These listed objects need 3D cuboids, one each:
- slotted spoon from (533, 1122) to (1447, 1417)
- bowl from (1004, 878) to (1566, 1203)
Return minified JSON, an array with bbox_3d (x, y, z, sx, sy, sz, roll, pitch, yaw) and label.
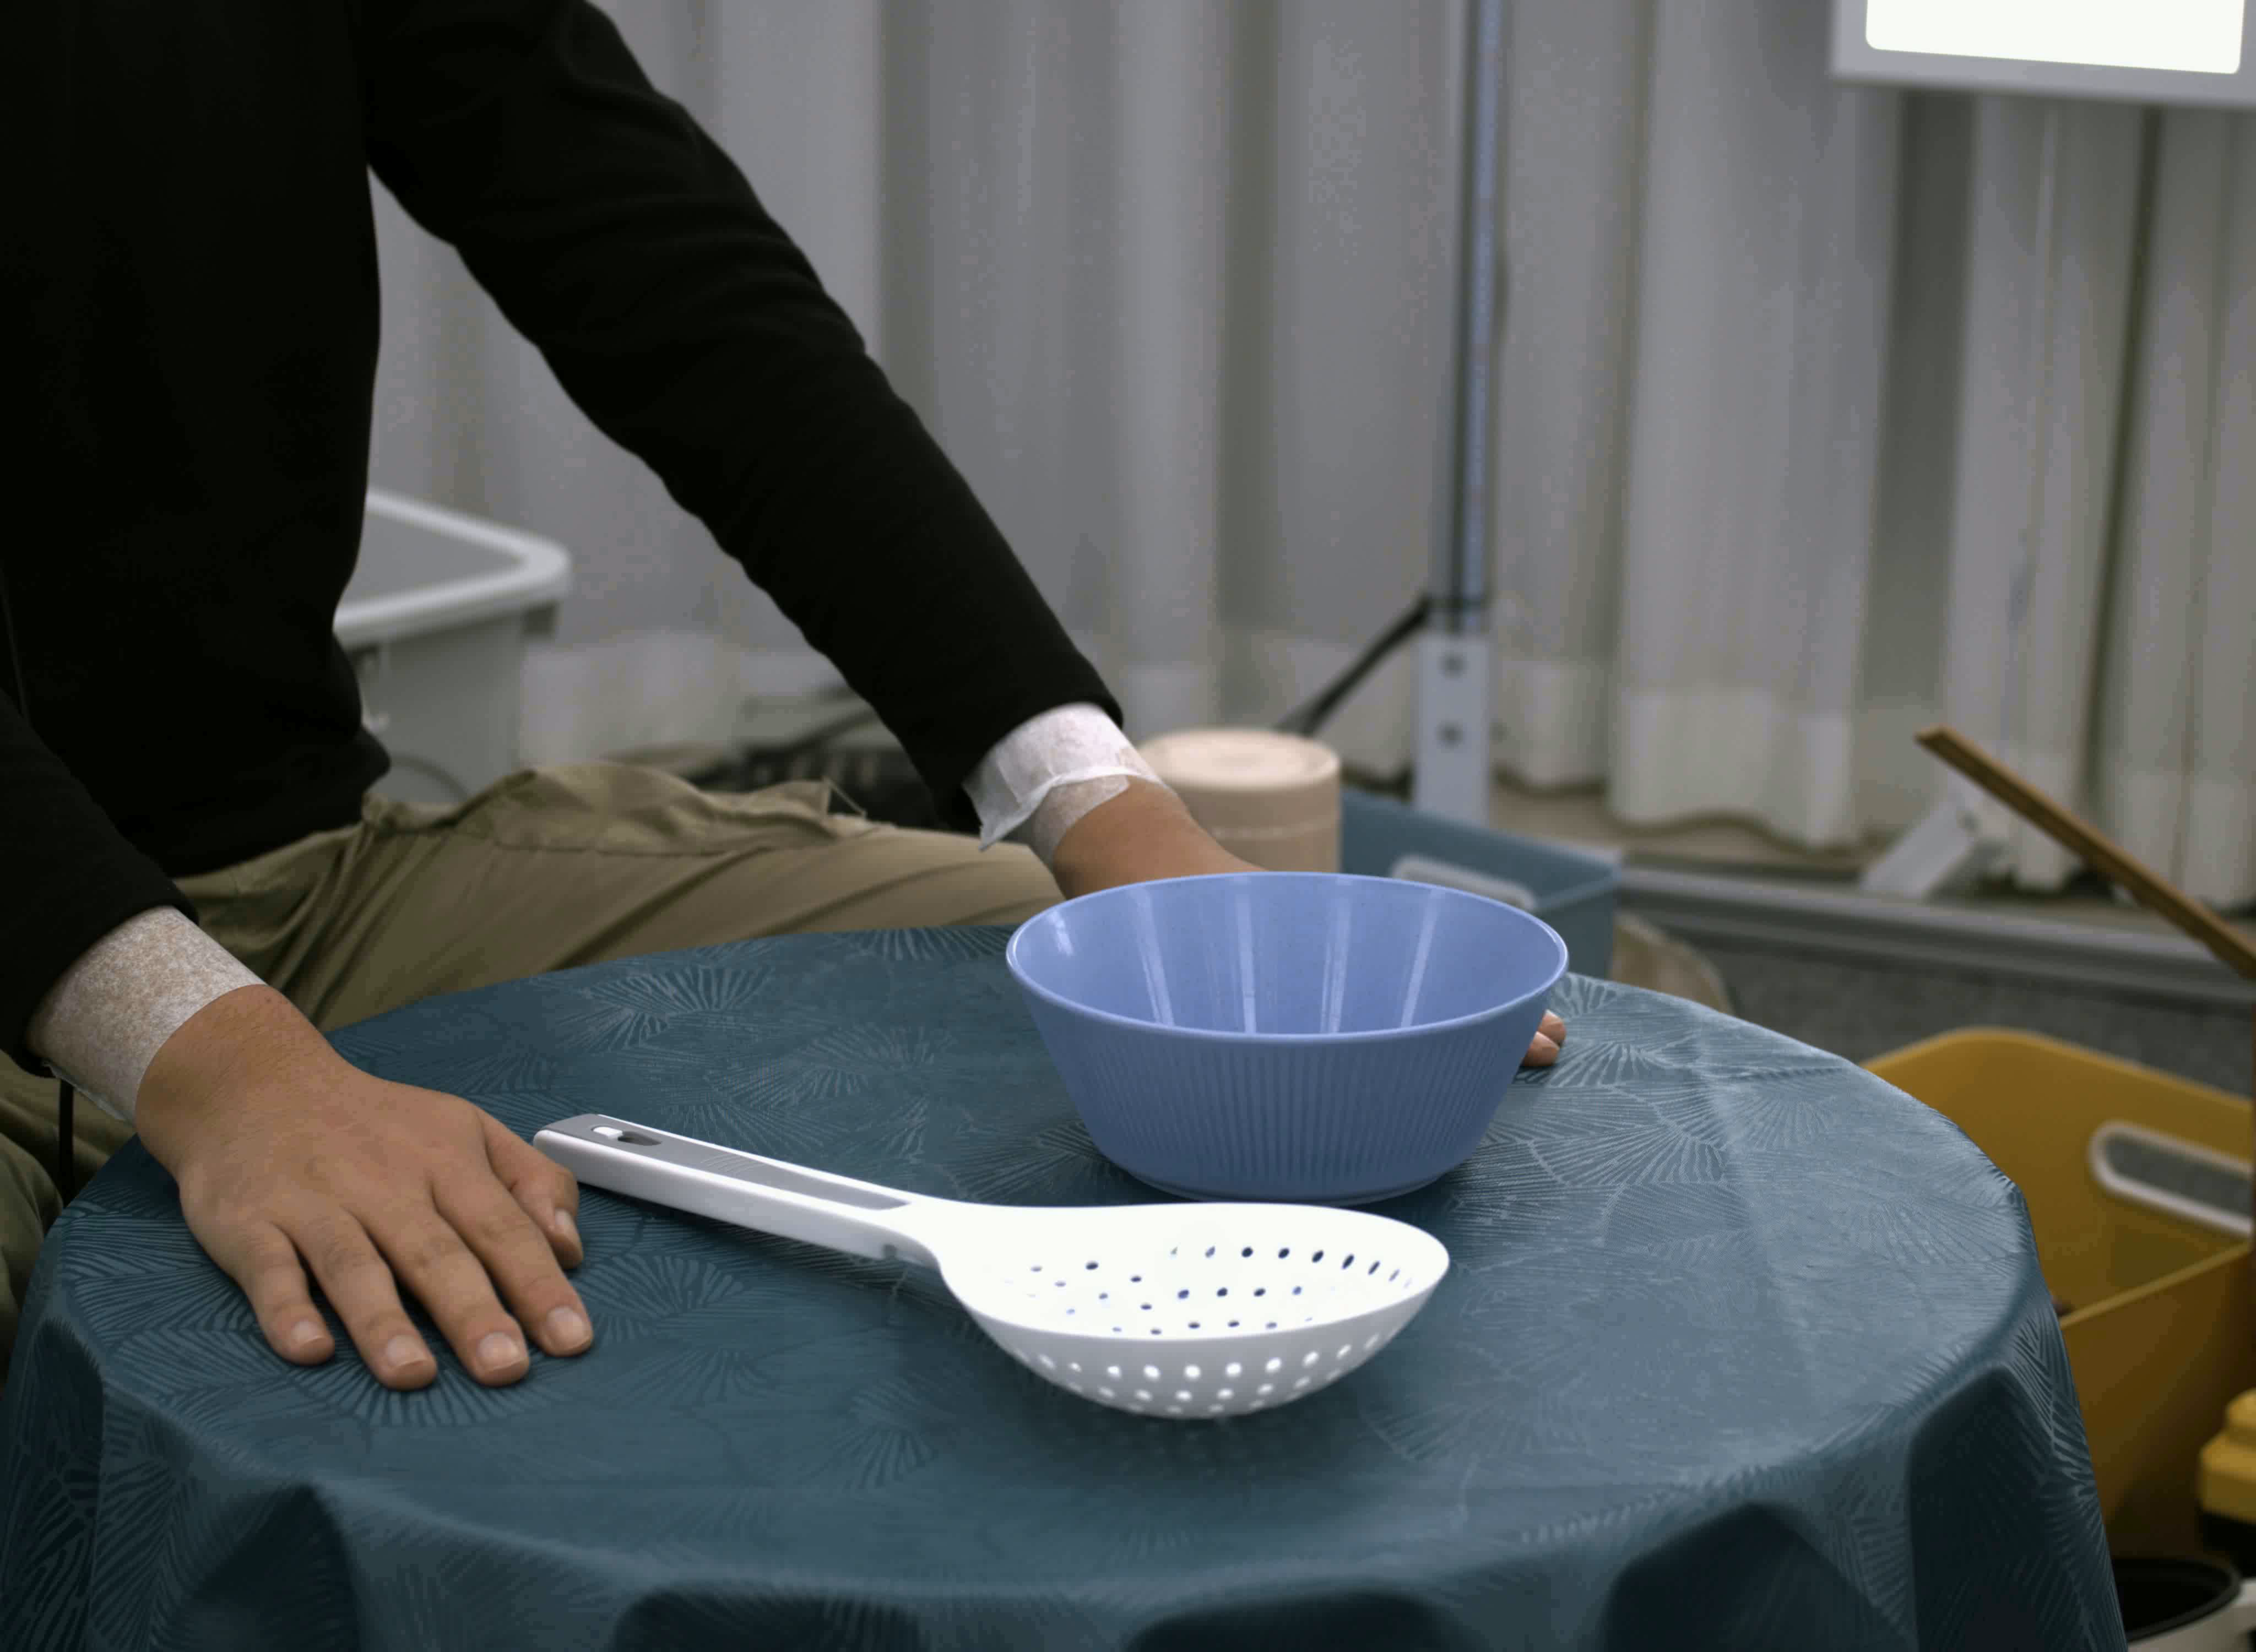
[{"bbox_3d":[-0.055,0.117,1.516,0.345,0.046,0.137,14,20,43],"label":"slotted spoon"},{"bbox_3d":[0.049,0.069,1.647,0.175,0.071,0.175,0,15,1],"label":"bowl"}]
